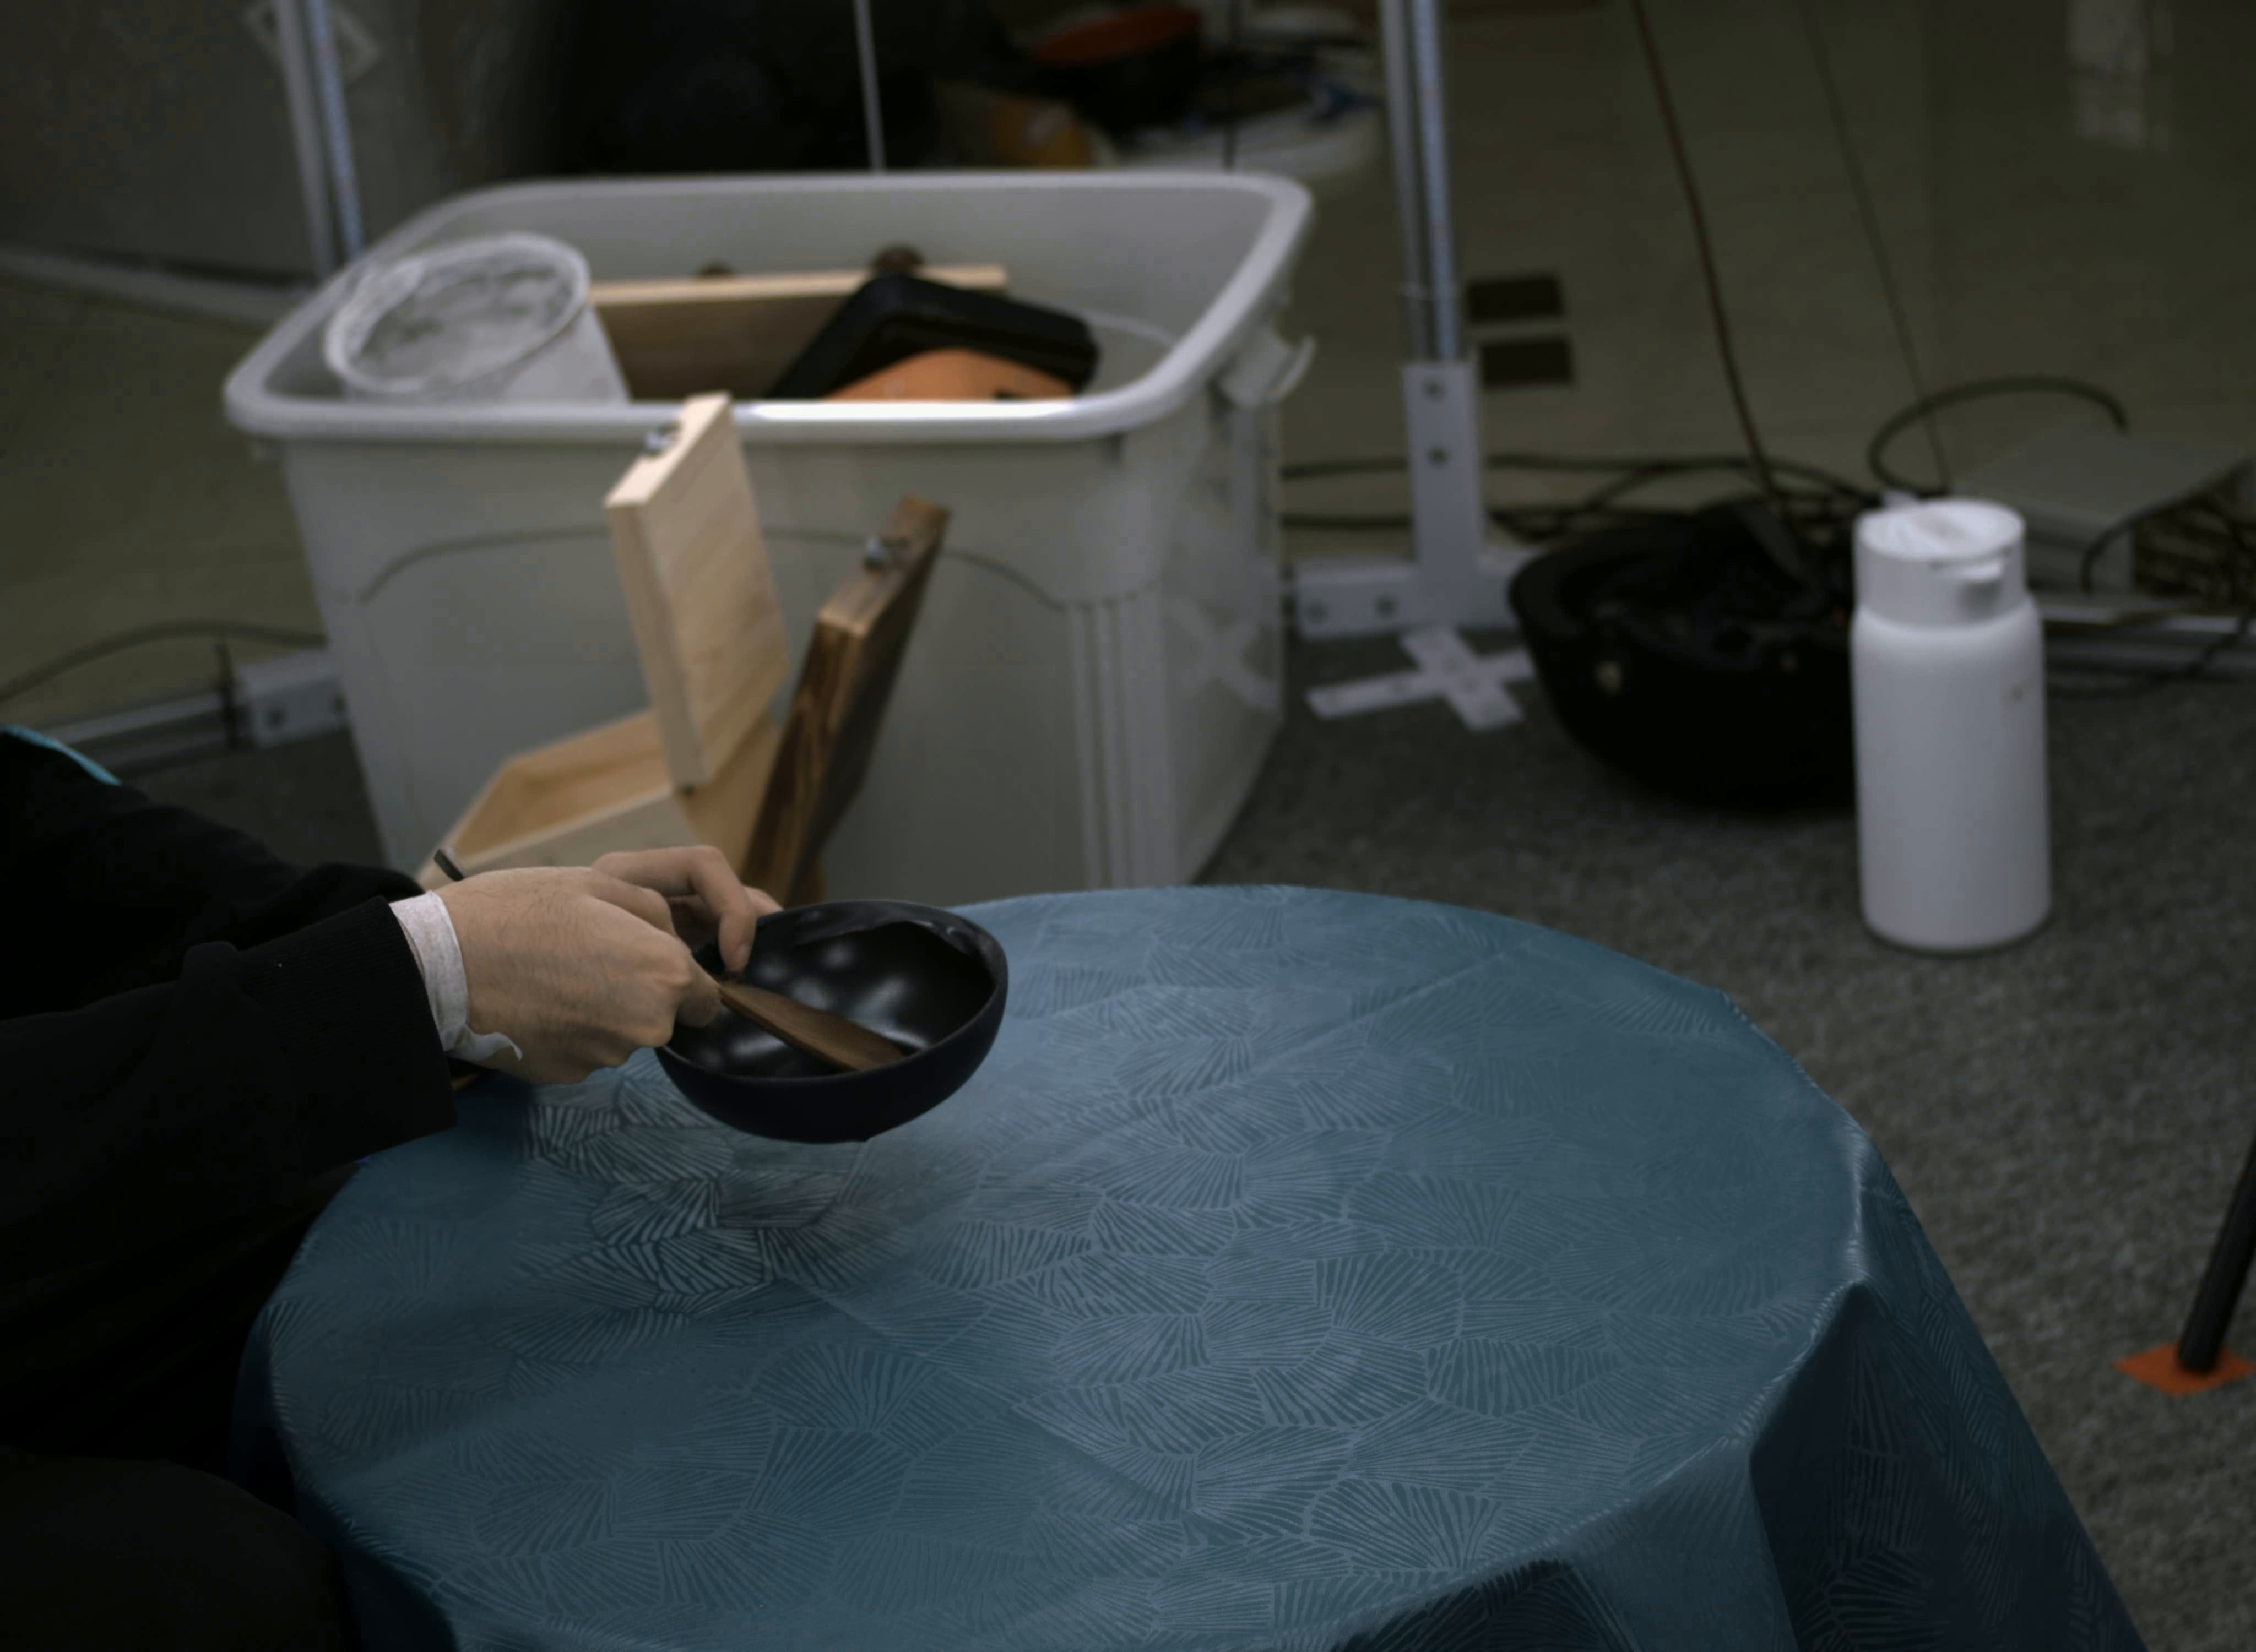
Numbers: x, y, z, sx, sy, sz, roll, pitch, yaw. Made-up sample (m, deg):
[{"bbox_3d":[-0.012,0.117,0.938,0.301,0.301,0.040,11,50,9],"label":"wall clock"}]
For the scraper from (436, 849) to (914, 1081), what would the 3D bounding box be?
[{"bbox_3d":[-0.167,0.053,2.109,0.213,0.011,0.075,26,6,-29],"label":"scraper"}]

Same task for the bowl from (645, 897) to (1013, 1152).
[{"bbox_3d":[-0.110,0.083,2.146,0.140,0.050,0.137,-6,31,4],"label":"bowl"}]
